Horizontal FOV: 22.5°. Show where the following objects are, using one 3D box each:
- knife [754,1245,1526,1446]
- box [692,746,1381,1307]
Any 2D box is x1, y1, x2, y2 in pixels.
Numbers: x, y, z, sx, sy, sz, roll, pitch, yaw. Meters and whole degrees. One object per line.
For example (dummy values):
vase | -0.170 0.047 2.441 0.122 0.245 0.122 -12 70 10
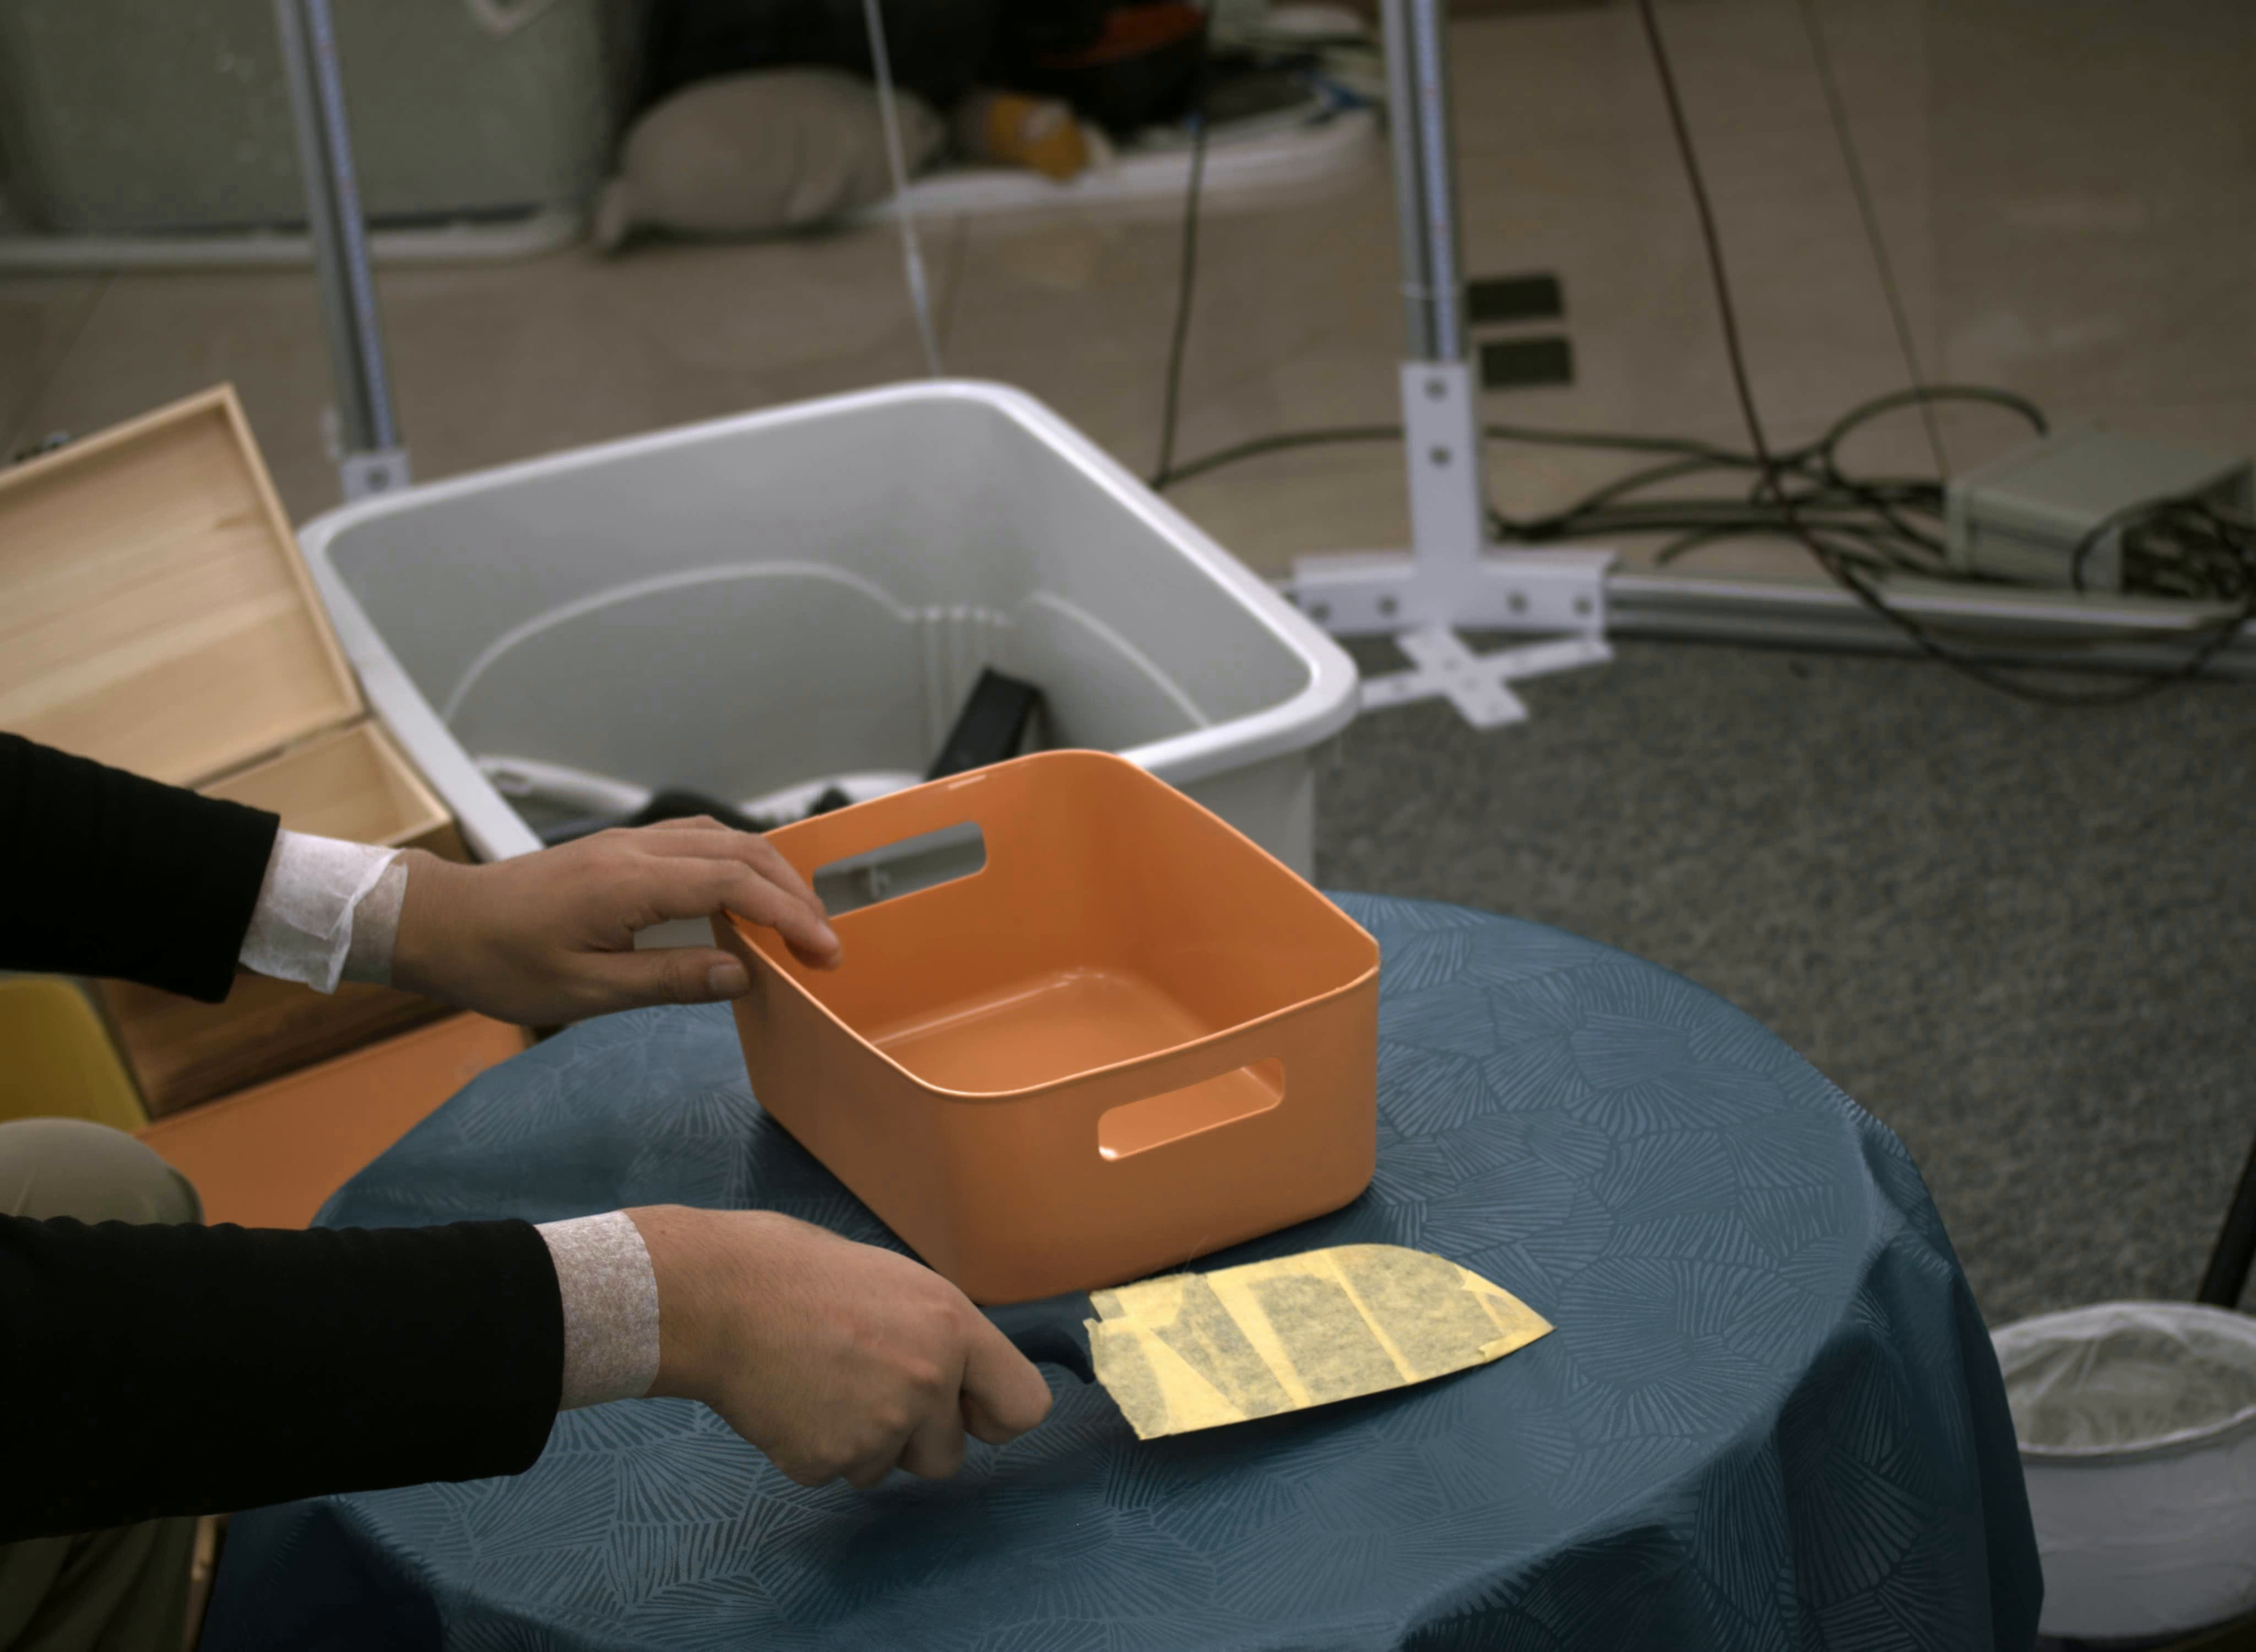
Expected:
knife | 0.010 0.185 1.980 0.288 0.028 0.080 -8 35 -22
box | -0.035 0.076 2.166 0.198 0.104 0.270 -16 27 -22
